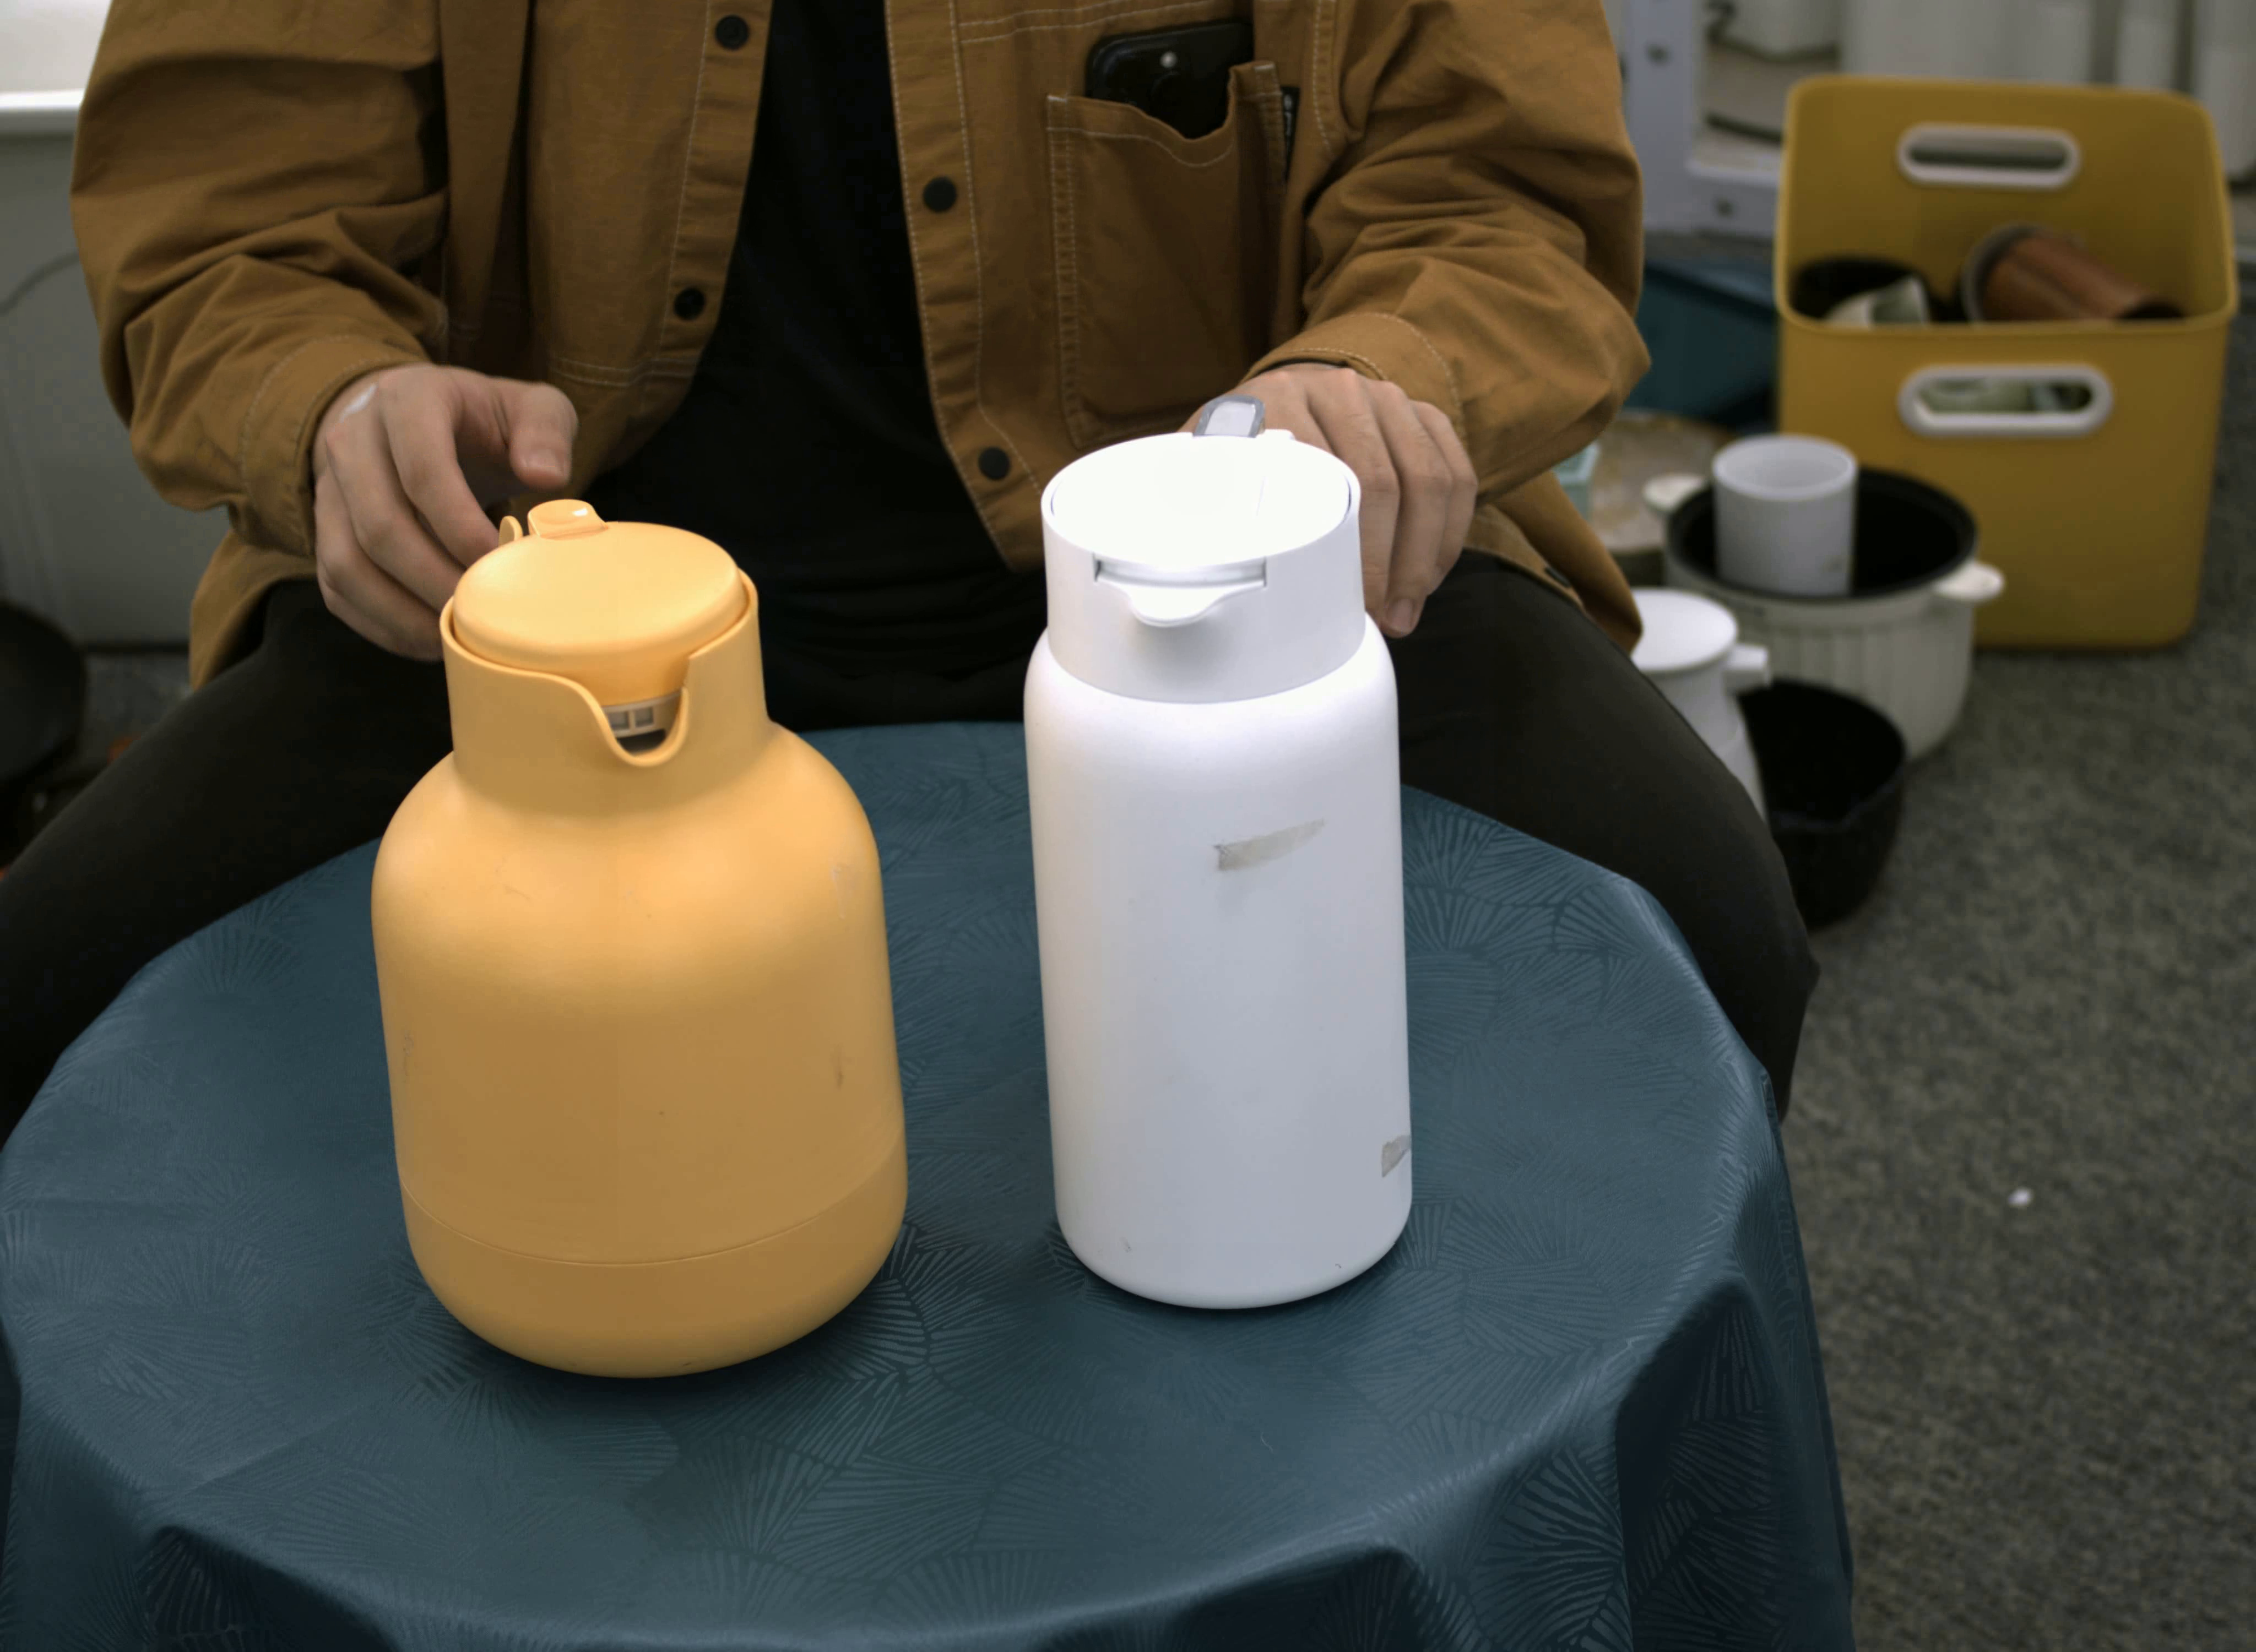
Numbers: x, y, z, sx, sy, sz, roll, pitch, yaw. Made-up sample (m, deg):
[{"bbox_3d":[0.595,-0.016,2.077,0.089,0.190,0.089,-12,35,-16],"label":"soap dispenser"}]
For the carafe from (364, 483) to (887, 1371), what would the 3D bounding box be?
[{"bbox_3d":[-0.162,0.022,1.782,0.163,0.257,0.205,-5,28,-13],"label":"carafe"}]

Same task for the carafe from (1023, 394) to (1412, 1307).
[{"bbox_3d":[0.030,0.004,1.795,0.123,0.266,0.175,0,26,10],"label":"carafe"}]
